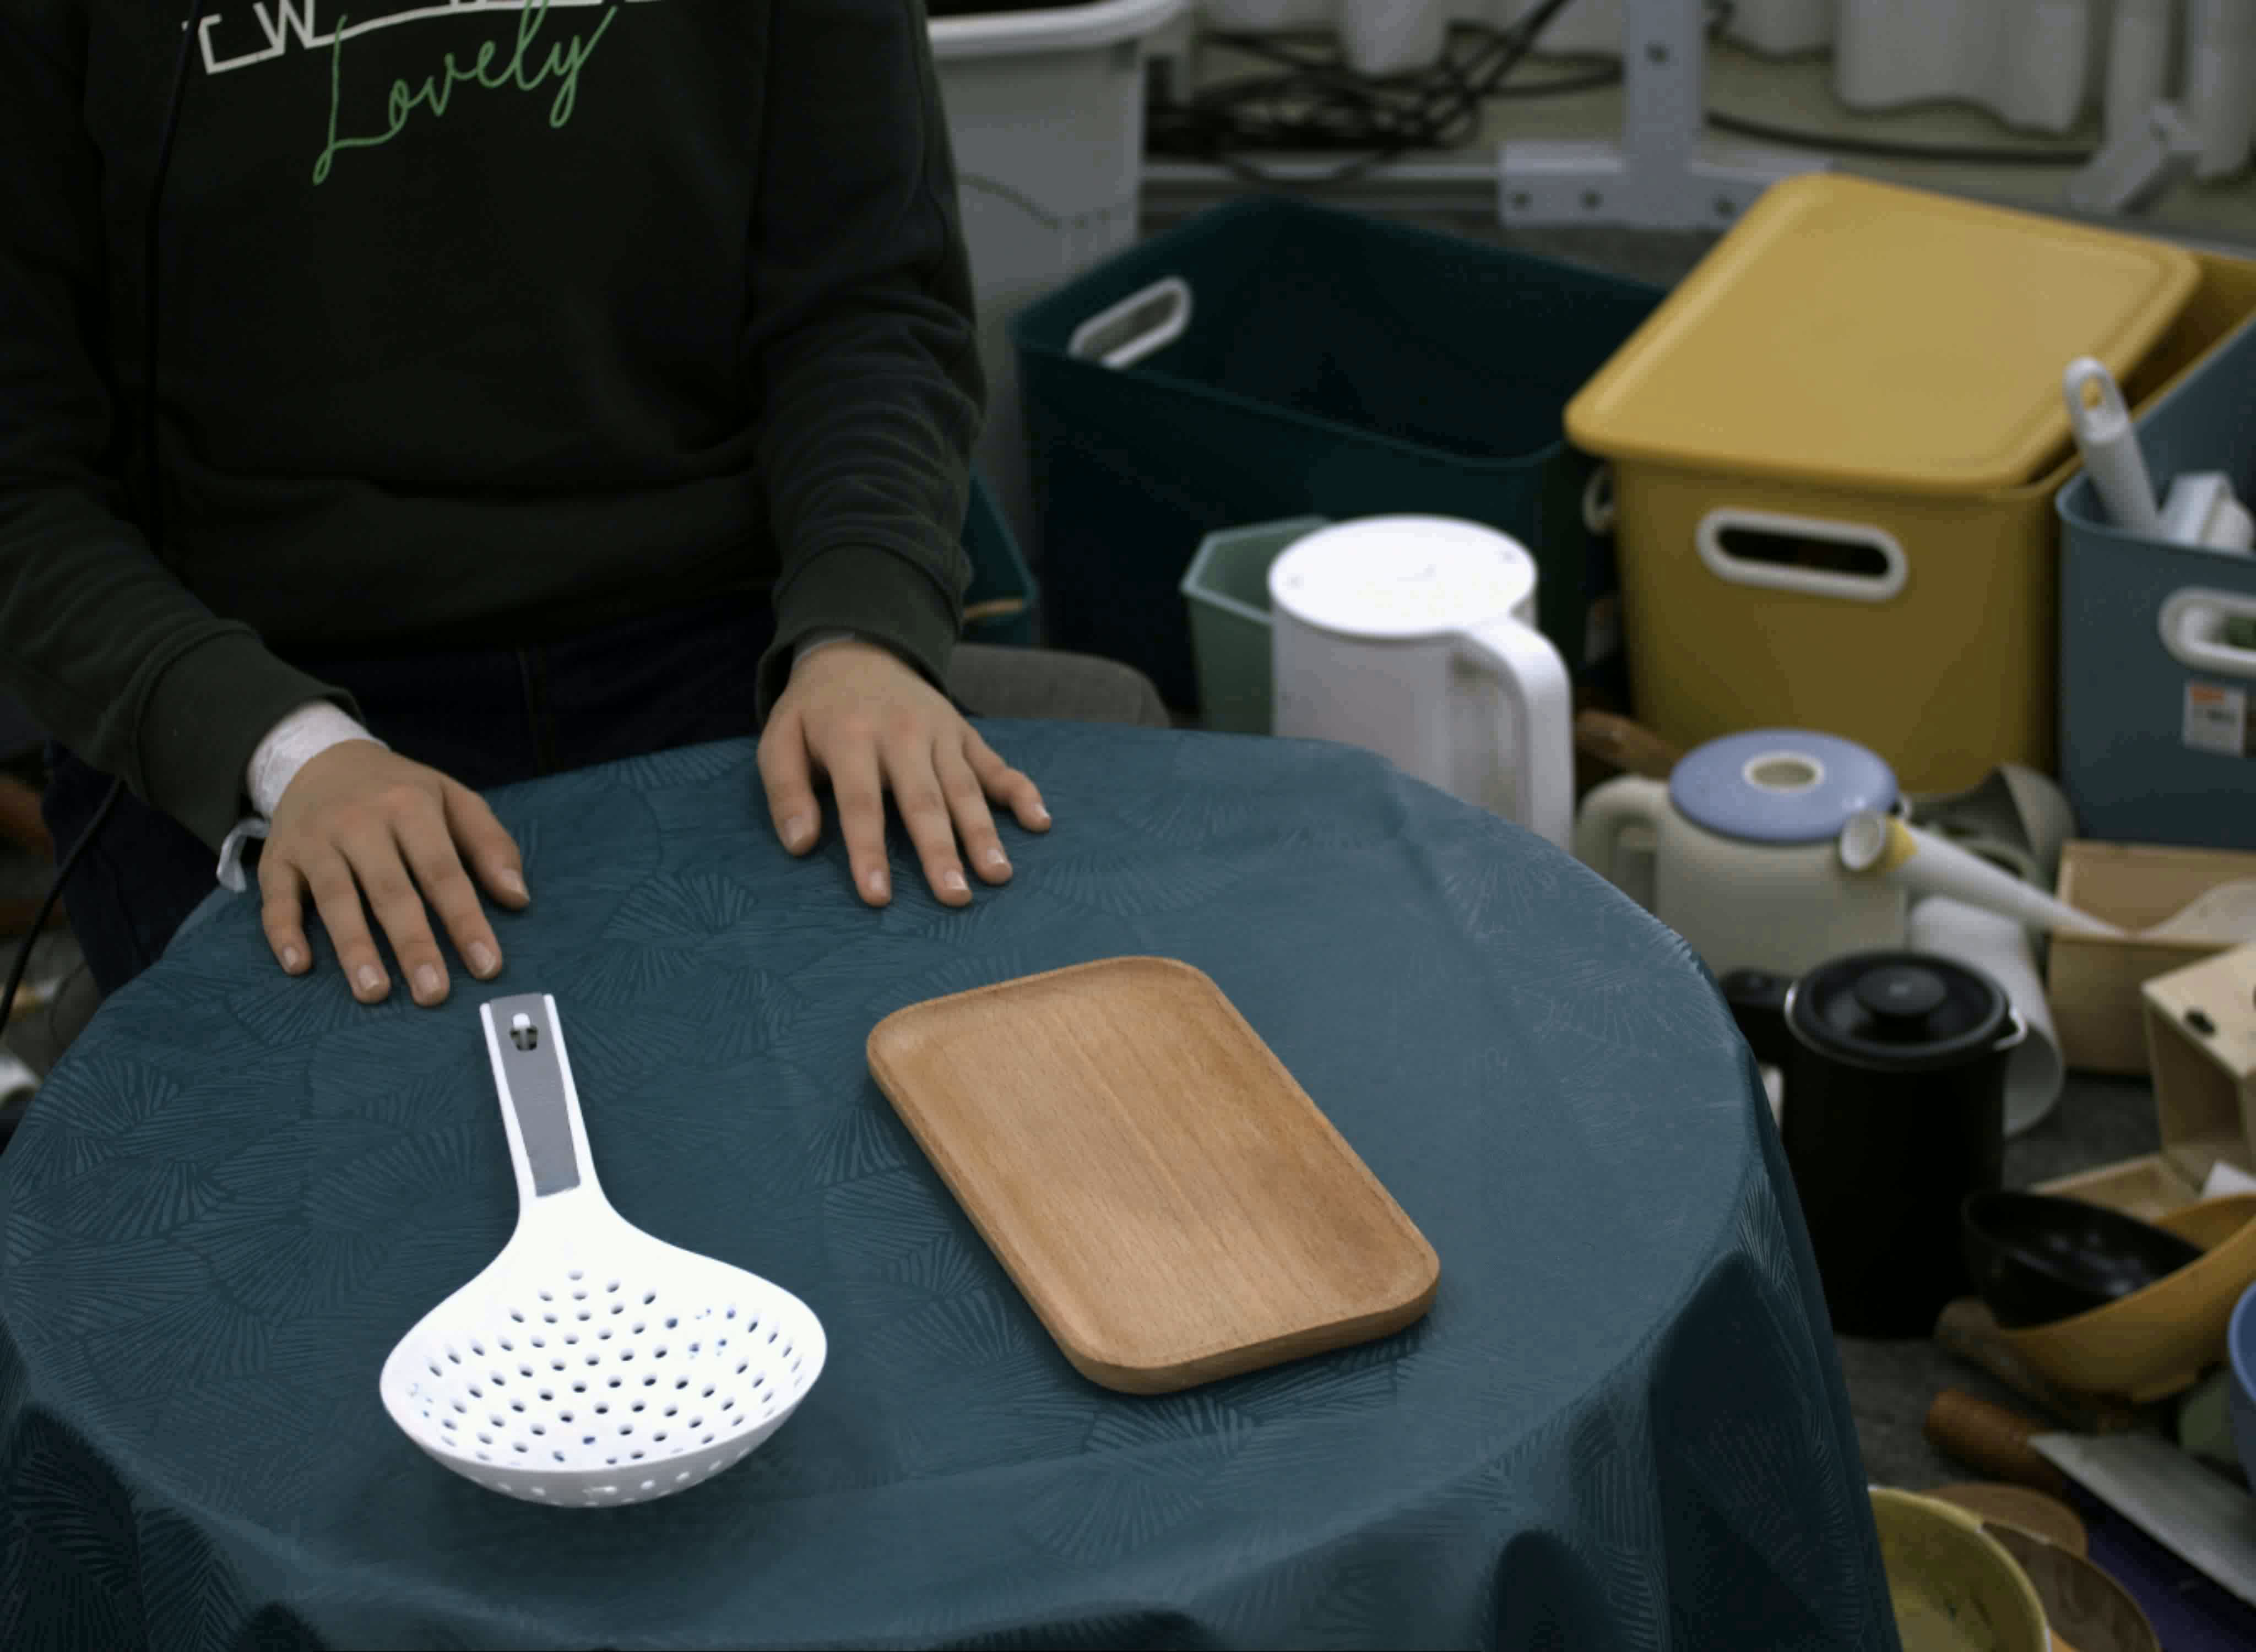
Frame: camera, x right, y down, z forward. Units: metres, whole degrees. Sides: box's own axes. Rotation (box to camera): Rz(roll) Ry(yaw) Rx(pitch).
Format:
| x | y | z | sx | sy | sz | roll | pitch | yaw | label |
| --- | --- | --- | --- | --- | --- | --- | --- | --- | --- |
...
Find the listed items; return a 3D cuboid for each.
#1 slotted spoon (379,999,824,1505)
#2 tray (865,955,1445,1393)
| x | y | z | sx | sy | sz | roll | pitch | yaw | label |
| --- | --- | --- | --- | --- | --- | --- | --- | --- | --- |
| -0.180 | 0.131 | 1.812 | 0.136 | 0.045 | 0.354 | -5 | 26 | -10 | slotted spoon |
| 0.005 | 0.112 | 1.861 | 0.131 | 0.022 | 0.252 | -10 | 27 | -18 | tray |
